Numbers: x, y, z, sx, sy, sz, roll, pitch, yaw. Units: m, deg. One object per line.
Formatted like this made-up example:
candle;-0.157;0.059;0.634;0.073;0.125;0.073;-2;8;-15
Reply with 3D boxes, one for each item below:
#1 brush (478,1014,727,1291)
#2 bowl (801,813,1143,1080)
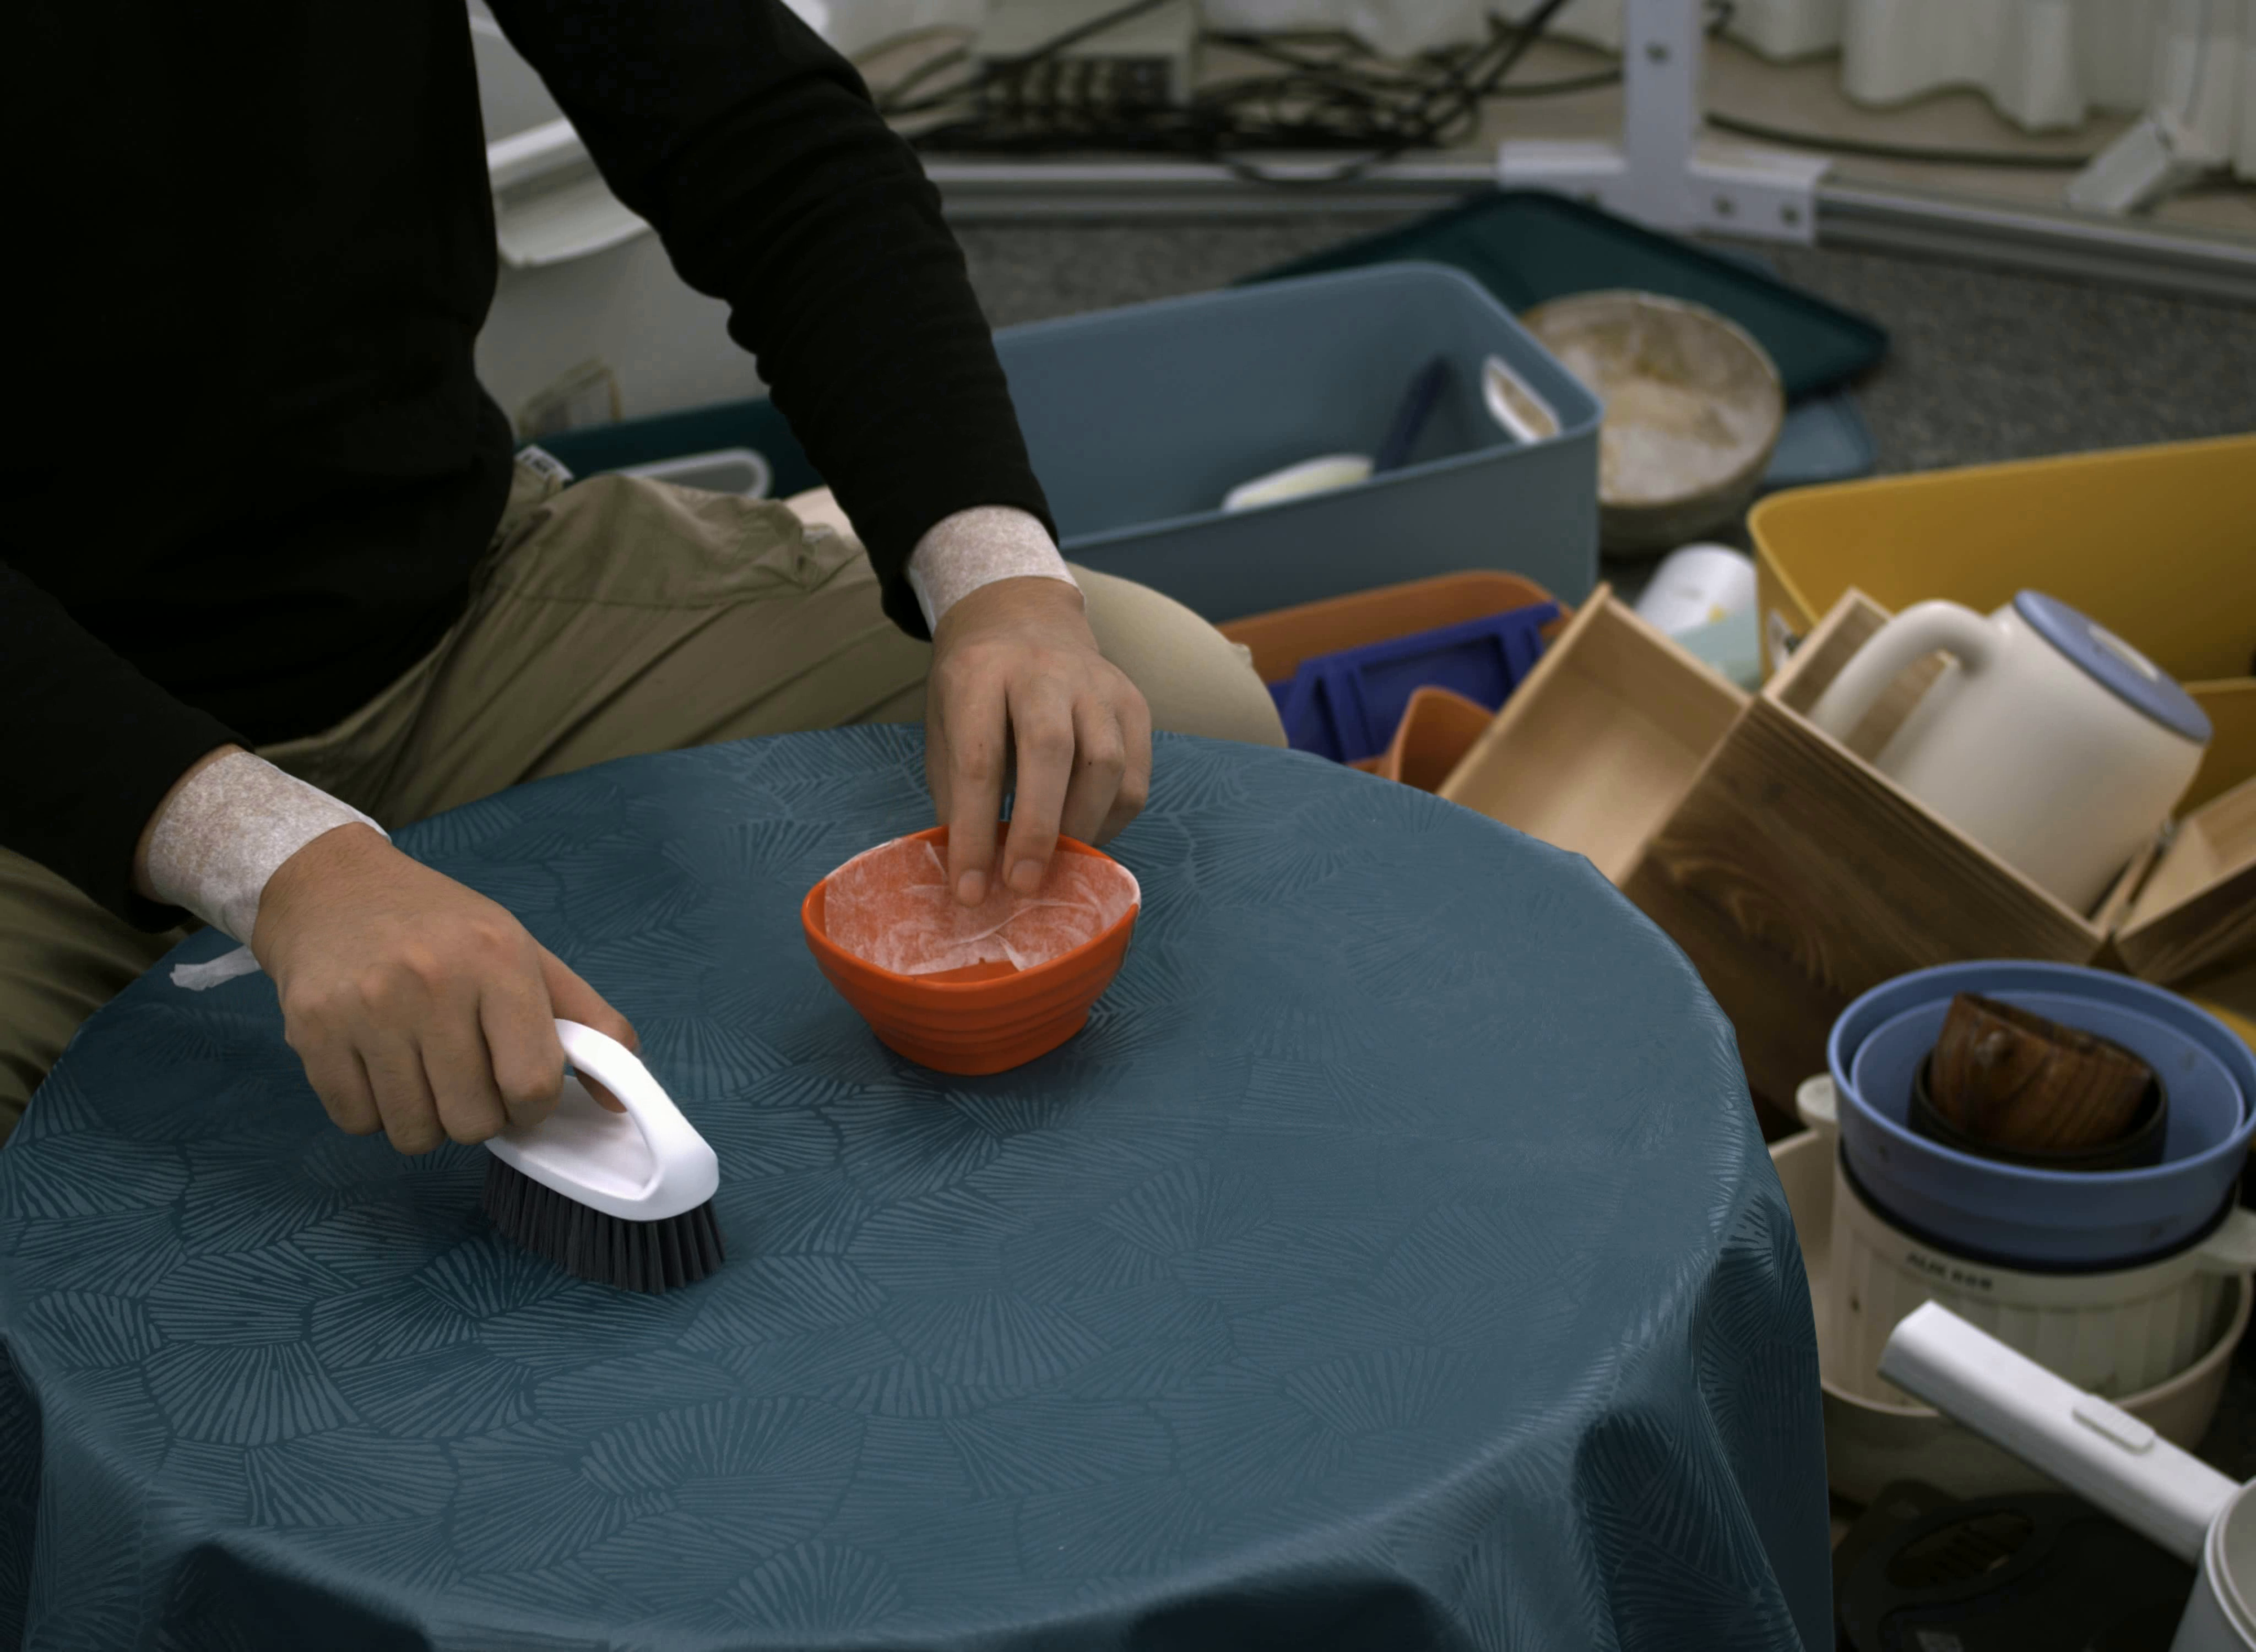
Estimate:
brush;-0.175;0.101;1.840;0.051;0.072;0.099;-25;34;-35
bowl;-0.053;0.046;1.955;0.118;0.051;0.121;-1;30;1
